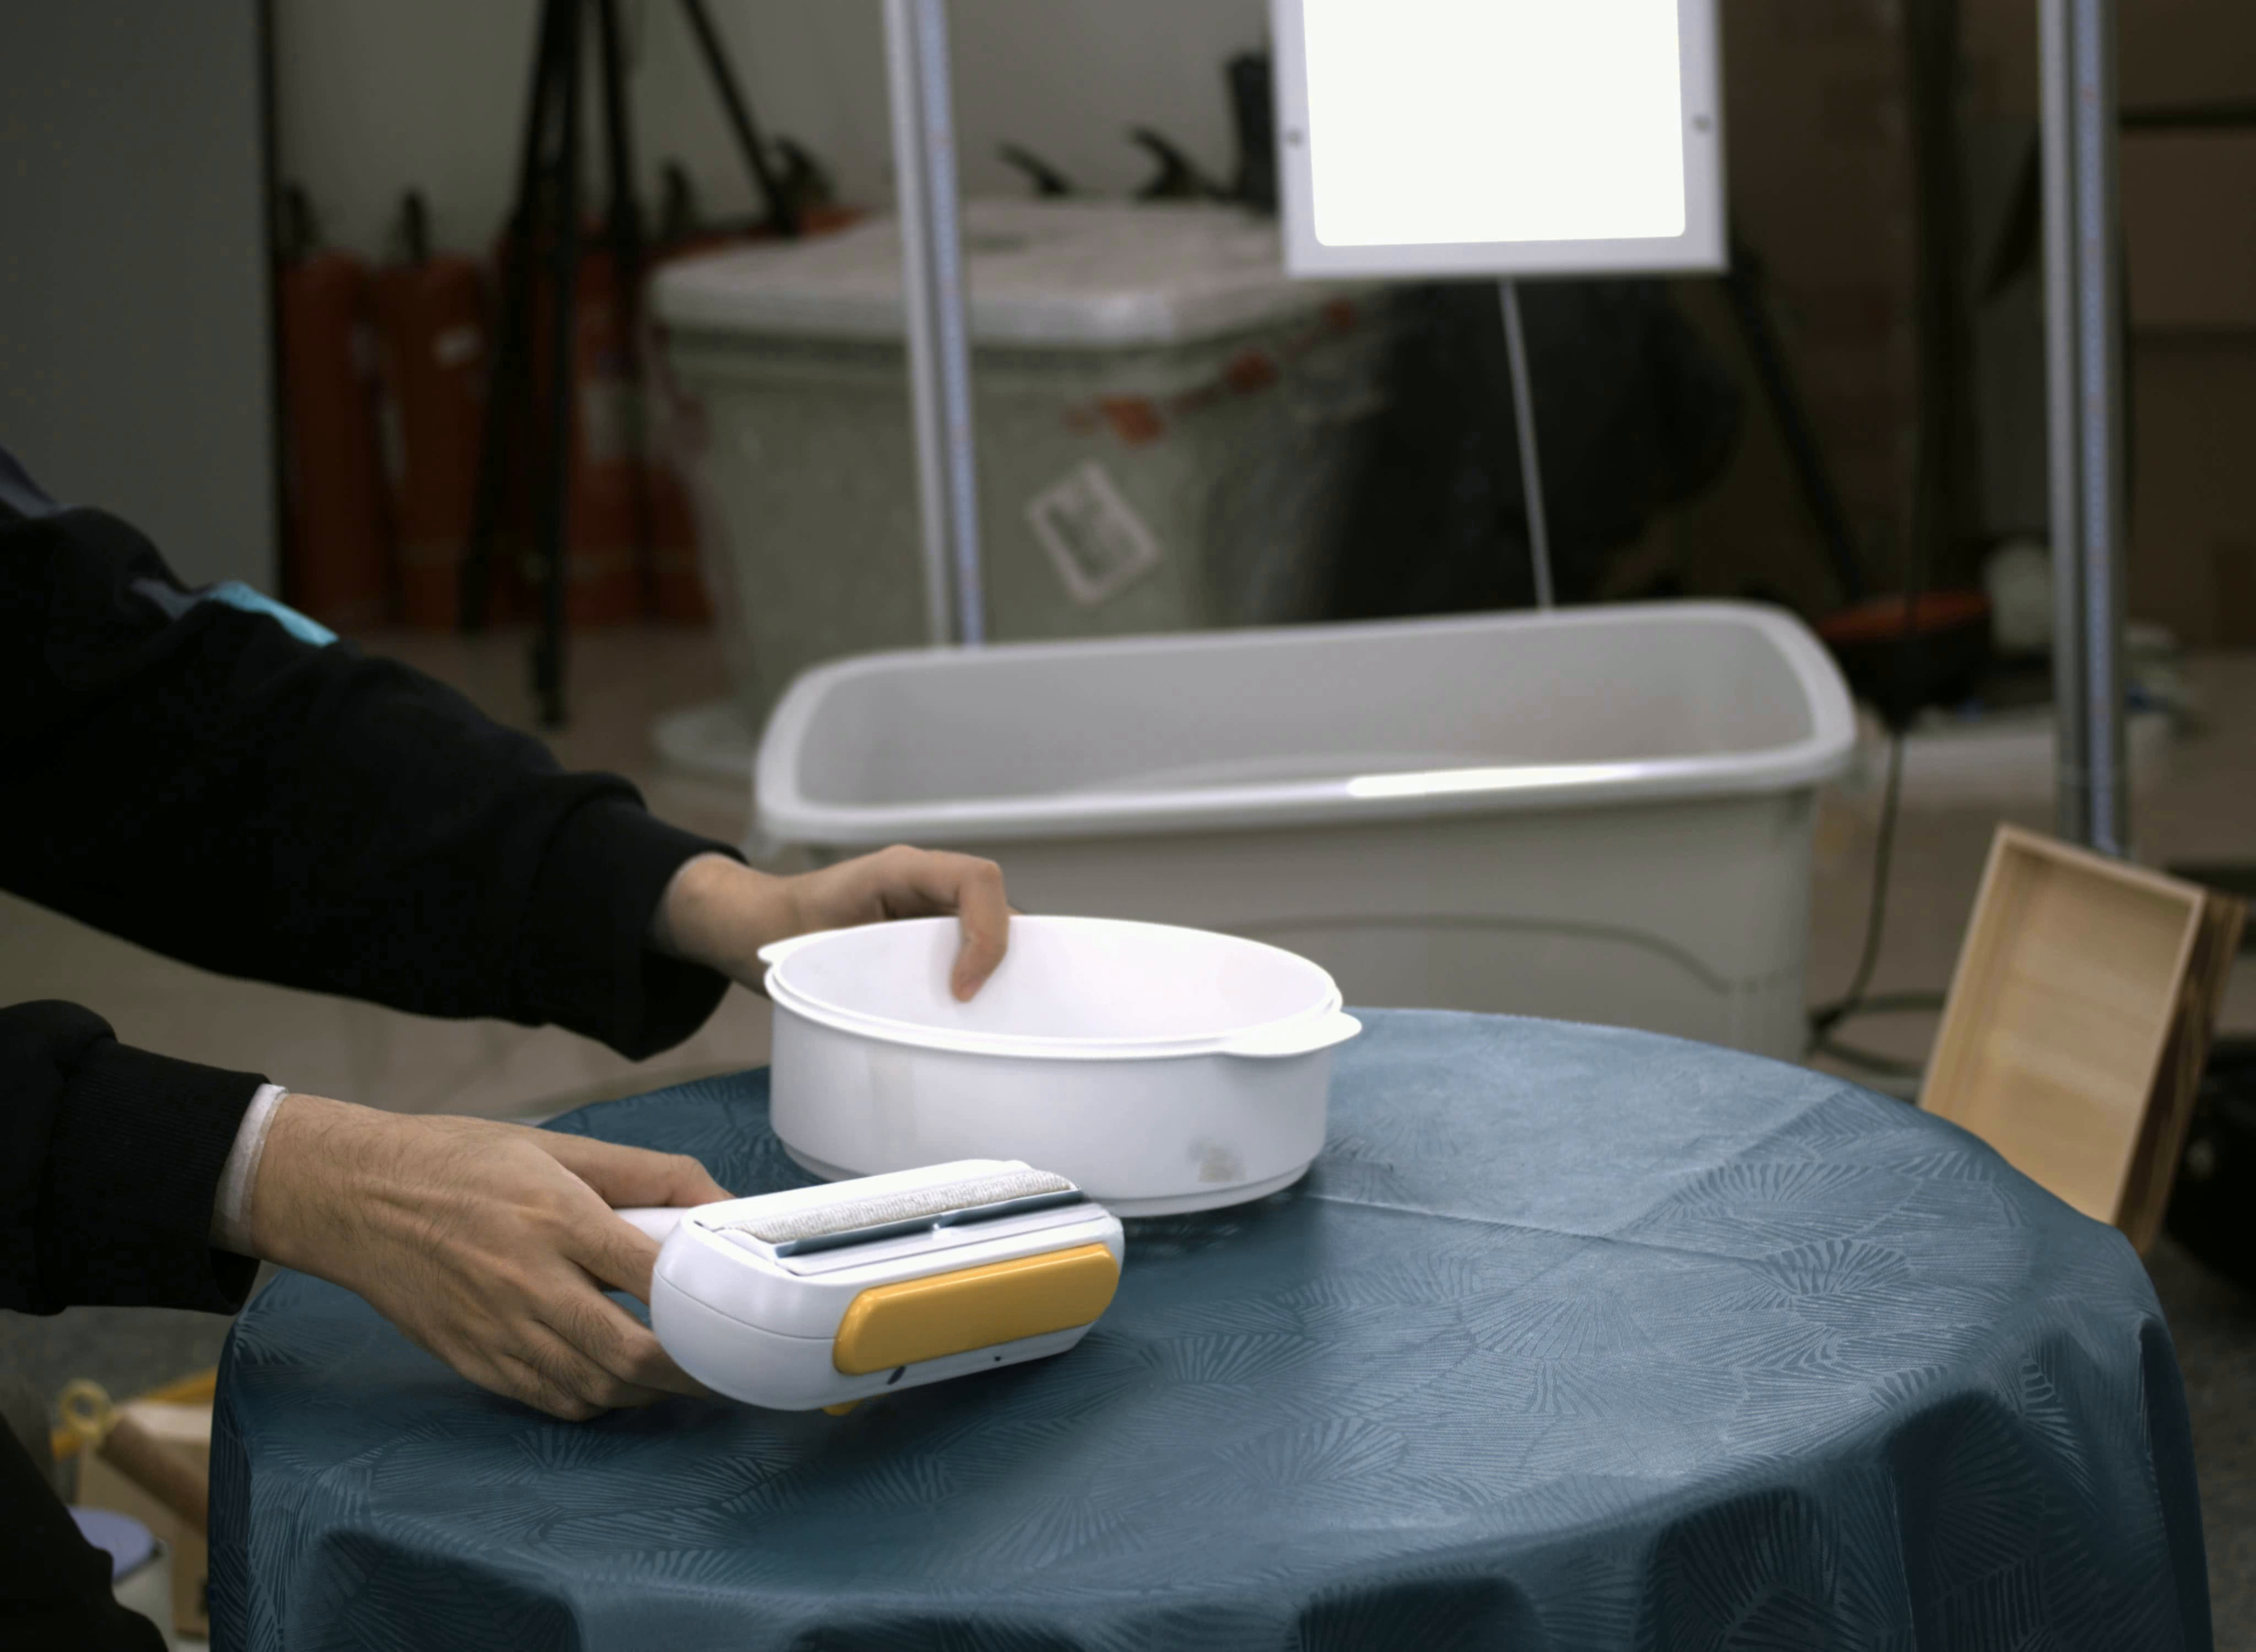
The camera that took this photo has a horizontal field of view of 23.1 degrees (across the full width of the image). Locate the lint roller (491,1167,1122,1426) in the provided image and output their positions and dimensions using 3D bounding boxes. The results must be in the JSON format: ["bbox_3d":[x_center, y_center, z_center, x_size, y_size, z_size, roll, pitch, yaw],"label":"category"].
[{"bbox_3d":[-0.122,0.136,1.723,0.196,0.074,0.188,14,15,37],"label":"lint roller"}]

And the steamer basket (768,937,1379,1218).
[{"bbox_3d":[-0.021,0.087,1.900,0.235,0.069,0.197,6,11,35],"label":"steamer basket"}]
